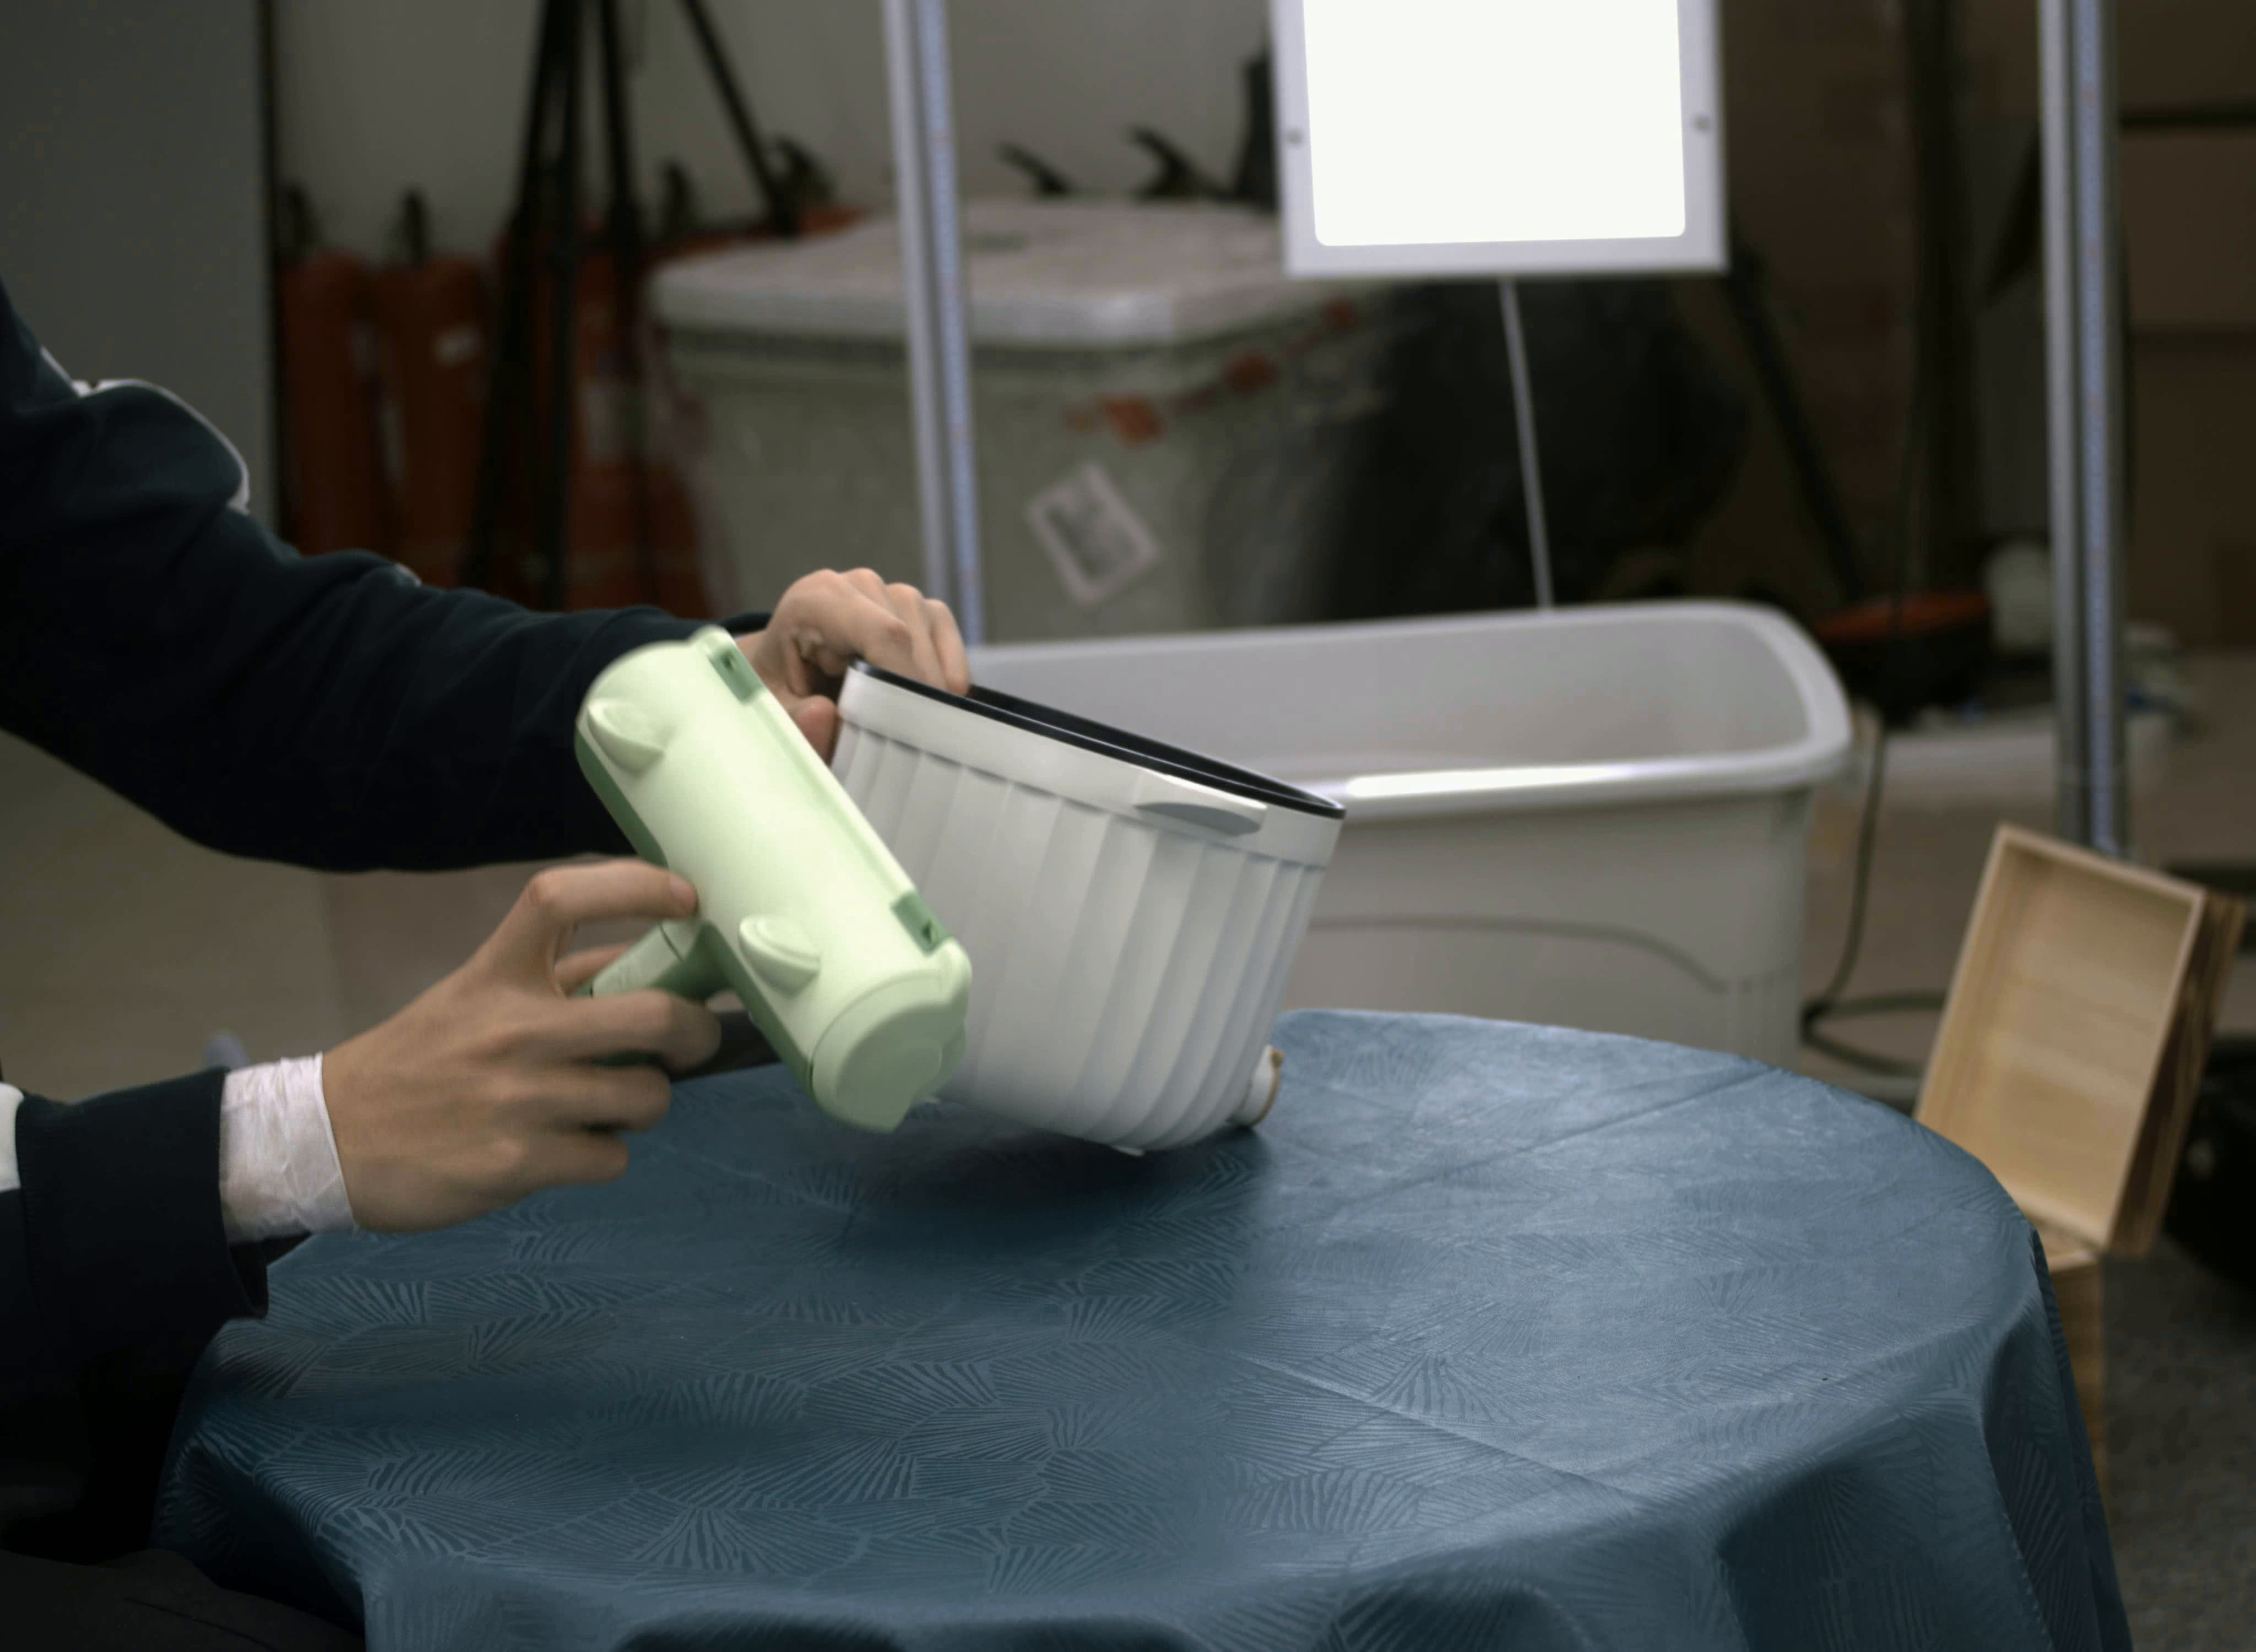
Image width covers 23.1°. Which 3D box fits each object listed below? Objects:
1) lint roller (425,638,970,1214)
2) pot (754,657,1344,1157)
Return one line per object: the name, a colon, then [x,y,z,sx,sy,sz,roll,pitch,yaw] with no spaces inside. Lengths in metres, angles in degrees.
lint roller: [-0.162,0.049,1.741,0.183,0.081,0.201,-38,48,1]
pot: [-0.025,0.032,1.919,0.187,0.143,0.244,12,6,-24]
